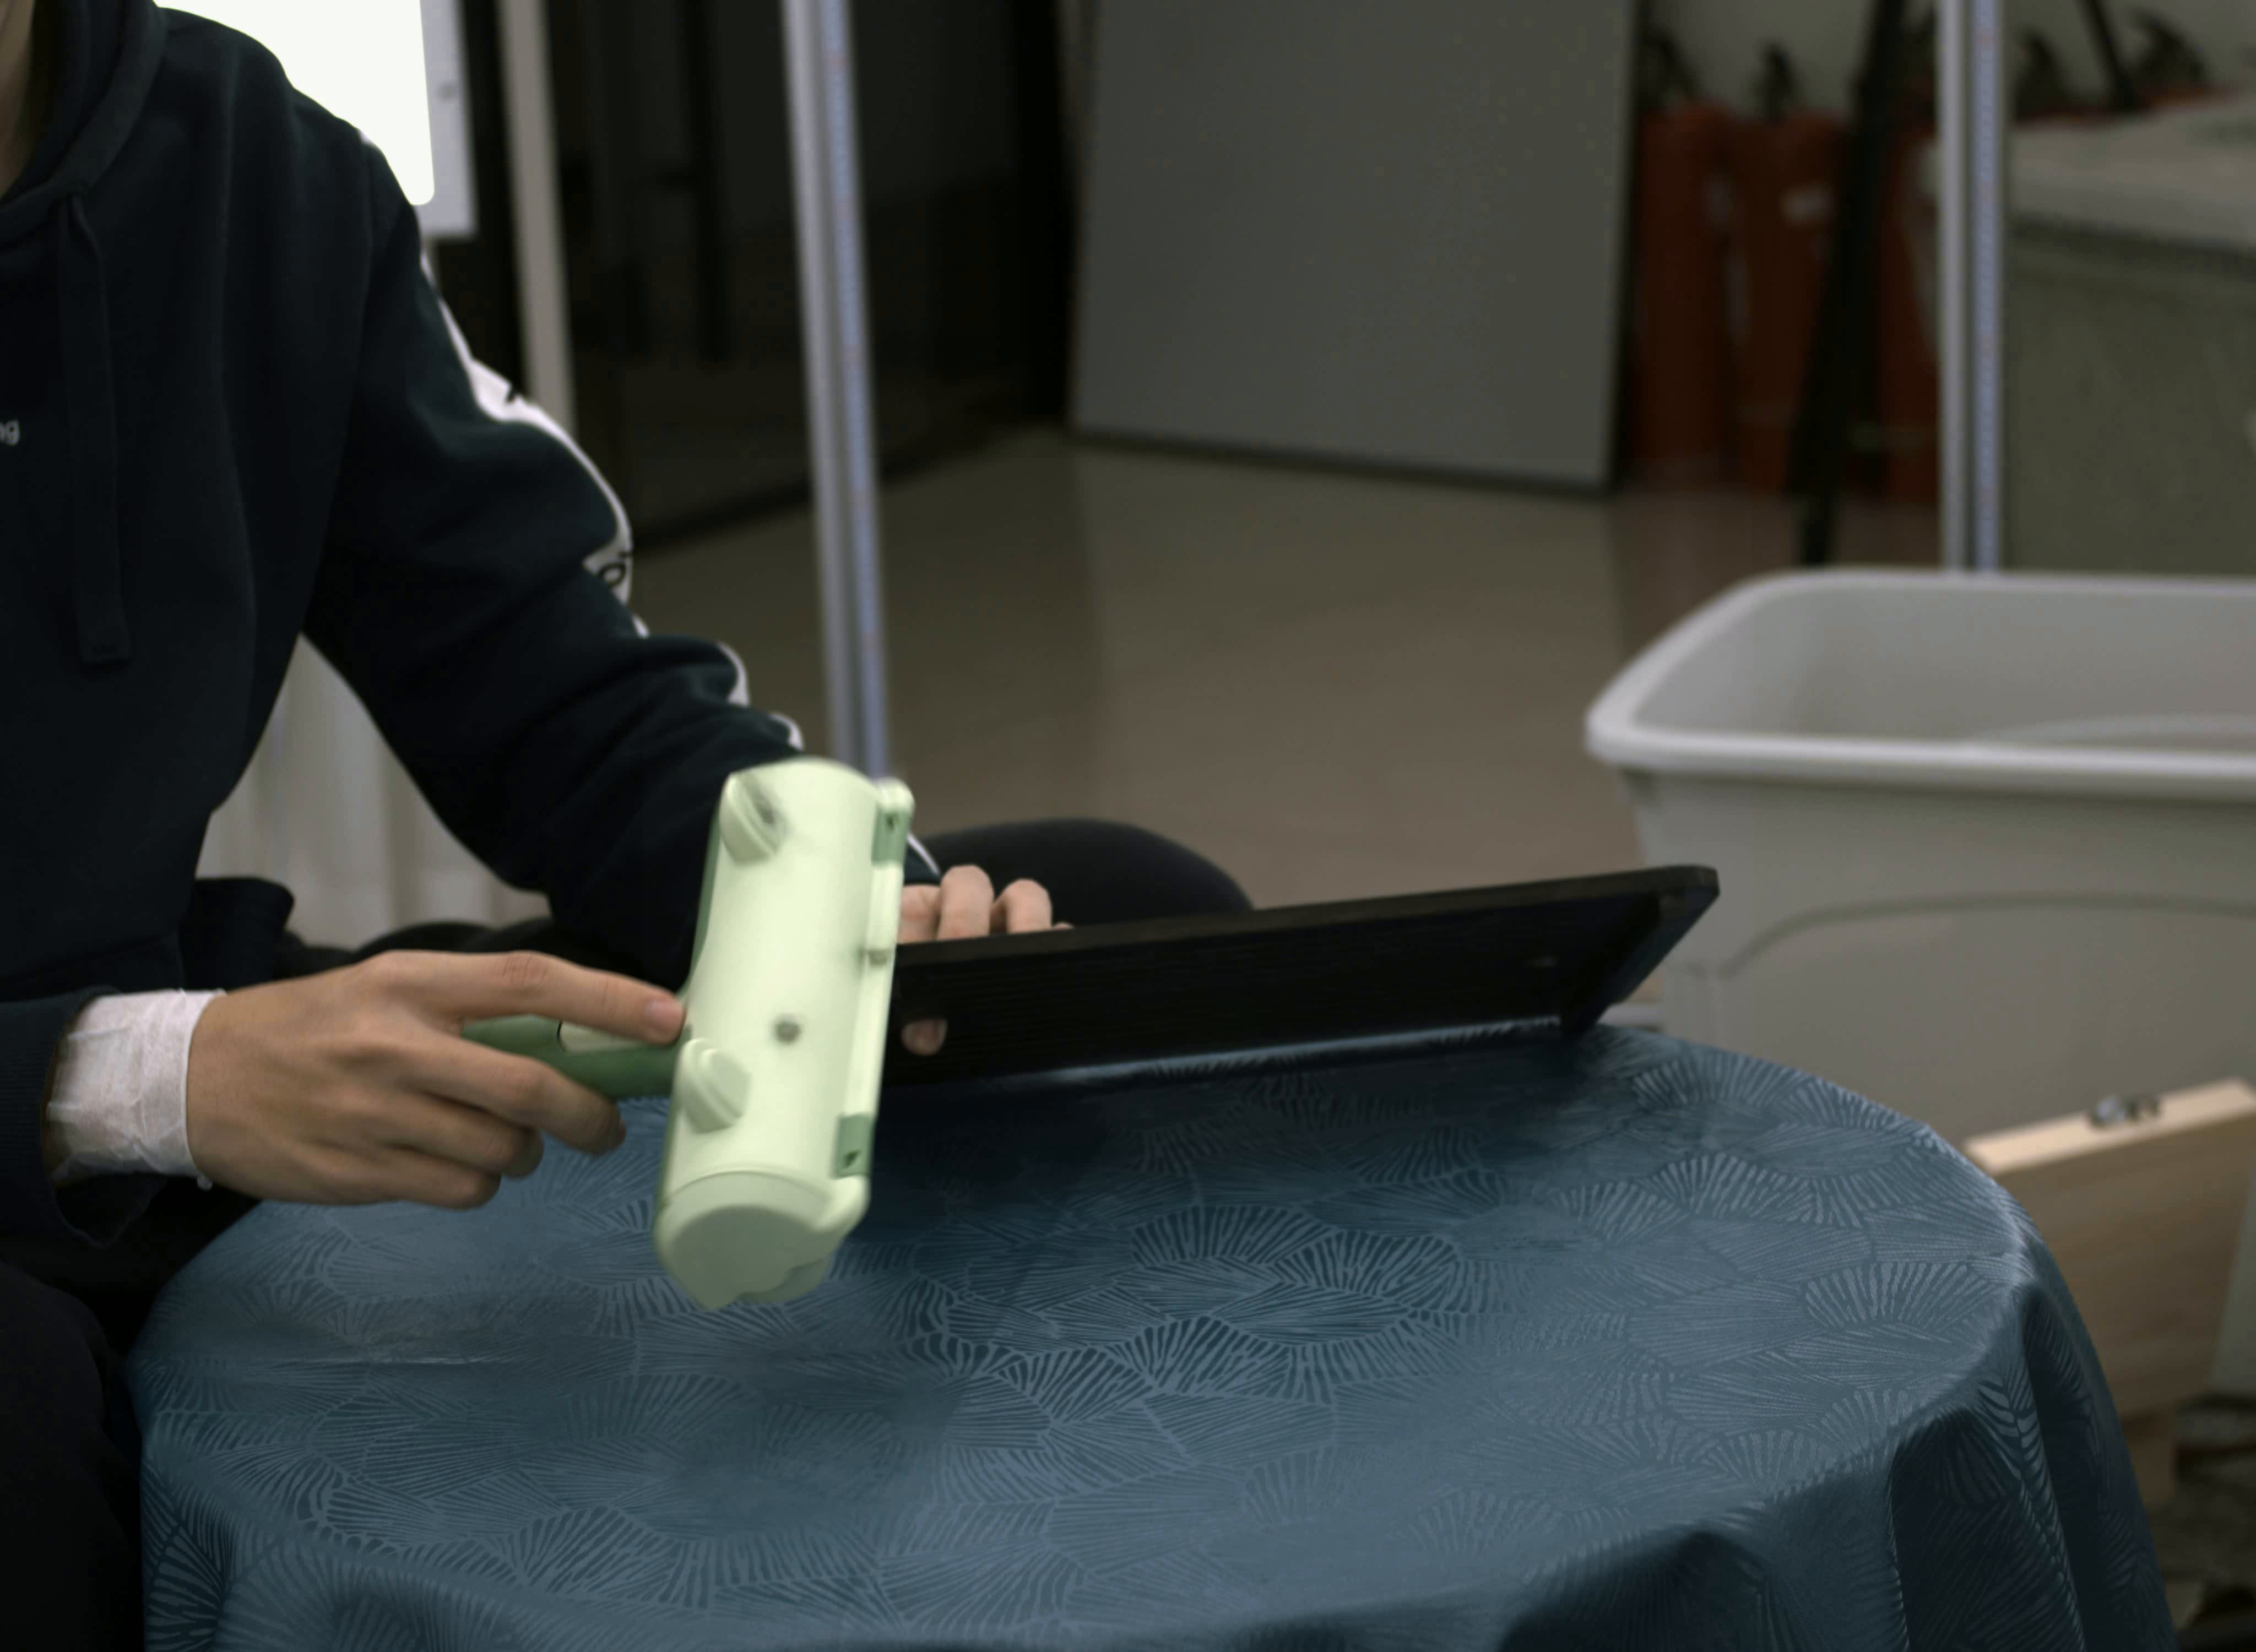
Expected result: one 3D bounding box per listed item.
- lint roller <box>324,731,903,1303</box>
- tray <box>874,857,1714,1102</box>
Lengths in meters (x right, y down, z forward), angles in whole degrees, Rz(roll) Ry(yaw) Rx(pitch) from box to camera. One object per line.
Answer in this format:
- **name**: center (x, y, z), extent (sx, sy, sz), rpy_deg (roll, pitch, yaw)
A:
- **lint roller**: center (-0.160, 0.054, 1.632), extent (0.181, 0.082, 0.200), rpy_deg (-5, 44, 6)
- **tray**: center (0.038, 0.058, 1.824), extent (0.300, 0.019, 0.170), rpy_deg (-6, -17, -9)
